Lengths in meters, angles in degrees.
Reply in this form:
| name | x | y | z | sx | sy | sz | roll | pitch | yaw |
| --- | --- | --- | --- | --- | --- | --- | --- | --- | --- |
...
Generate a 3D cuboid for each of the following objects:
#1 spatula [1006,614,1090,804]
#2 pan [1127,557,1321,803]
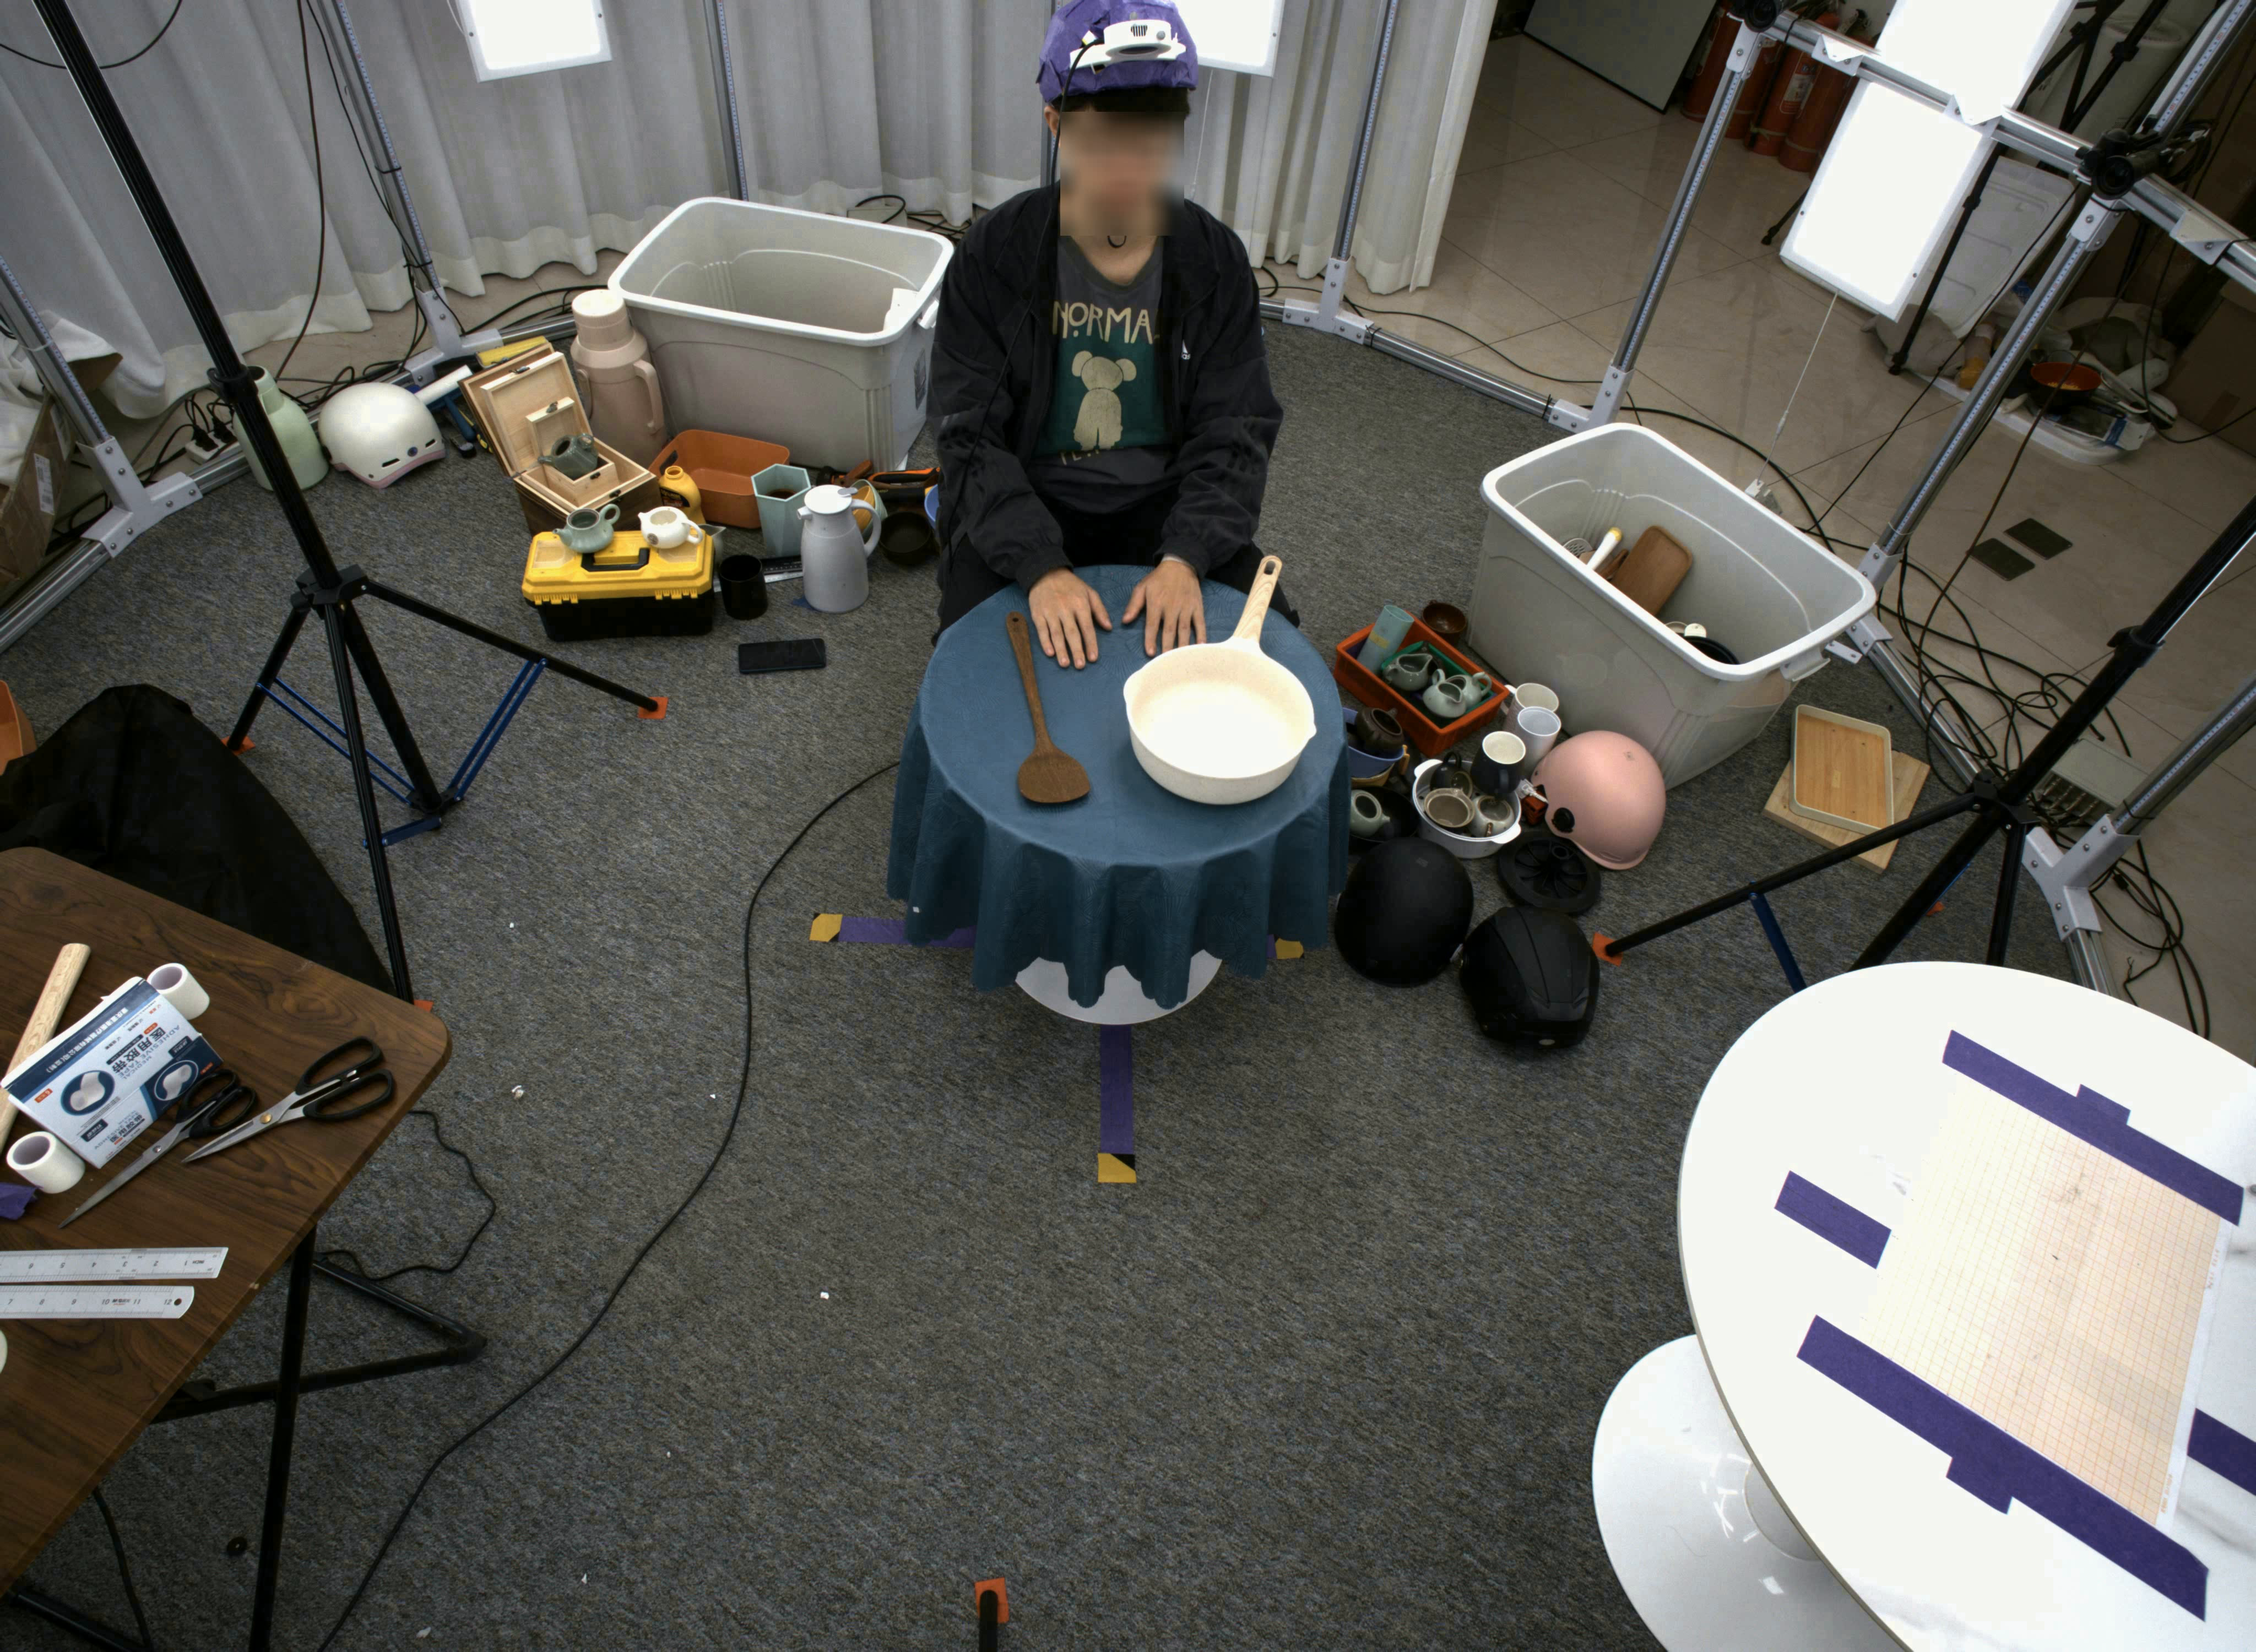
| name | x | y | z | sx | sy | sz | roll | pitch | yaw |
| --- | --- | --- | --- | --- | --- | --- | --- | --- | --- |
| spatula | -0.131 | -0.174 | 1.801 | 0.096 | 0.015 | 0.396 | -6 | 49 | -10 |
| pan | 0.153 | -0.205 | 1.788 | 0.264 | 0.099 | 0.444 | 13 | 49 | 10 |
